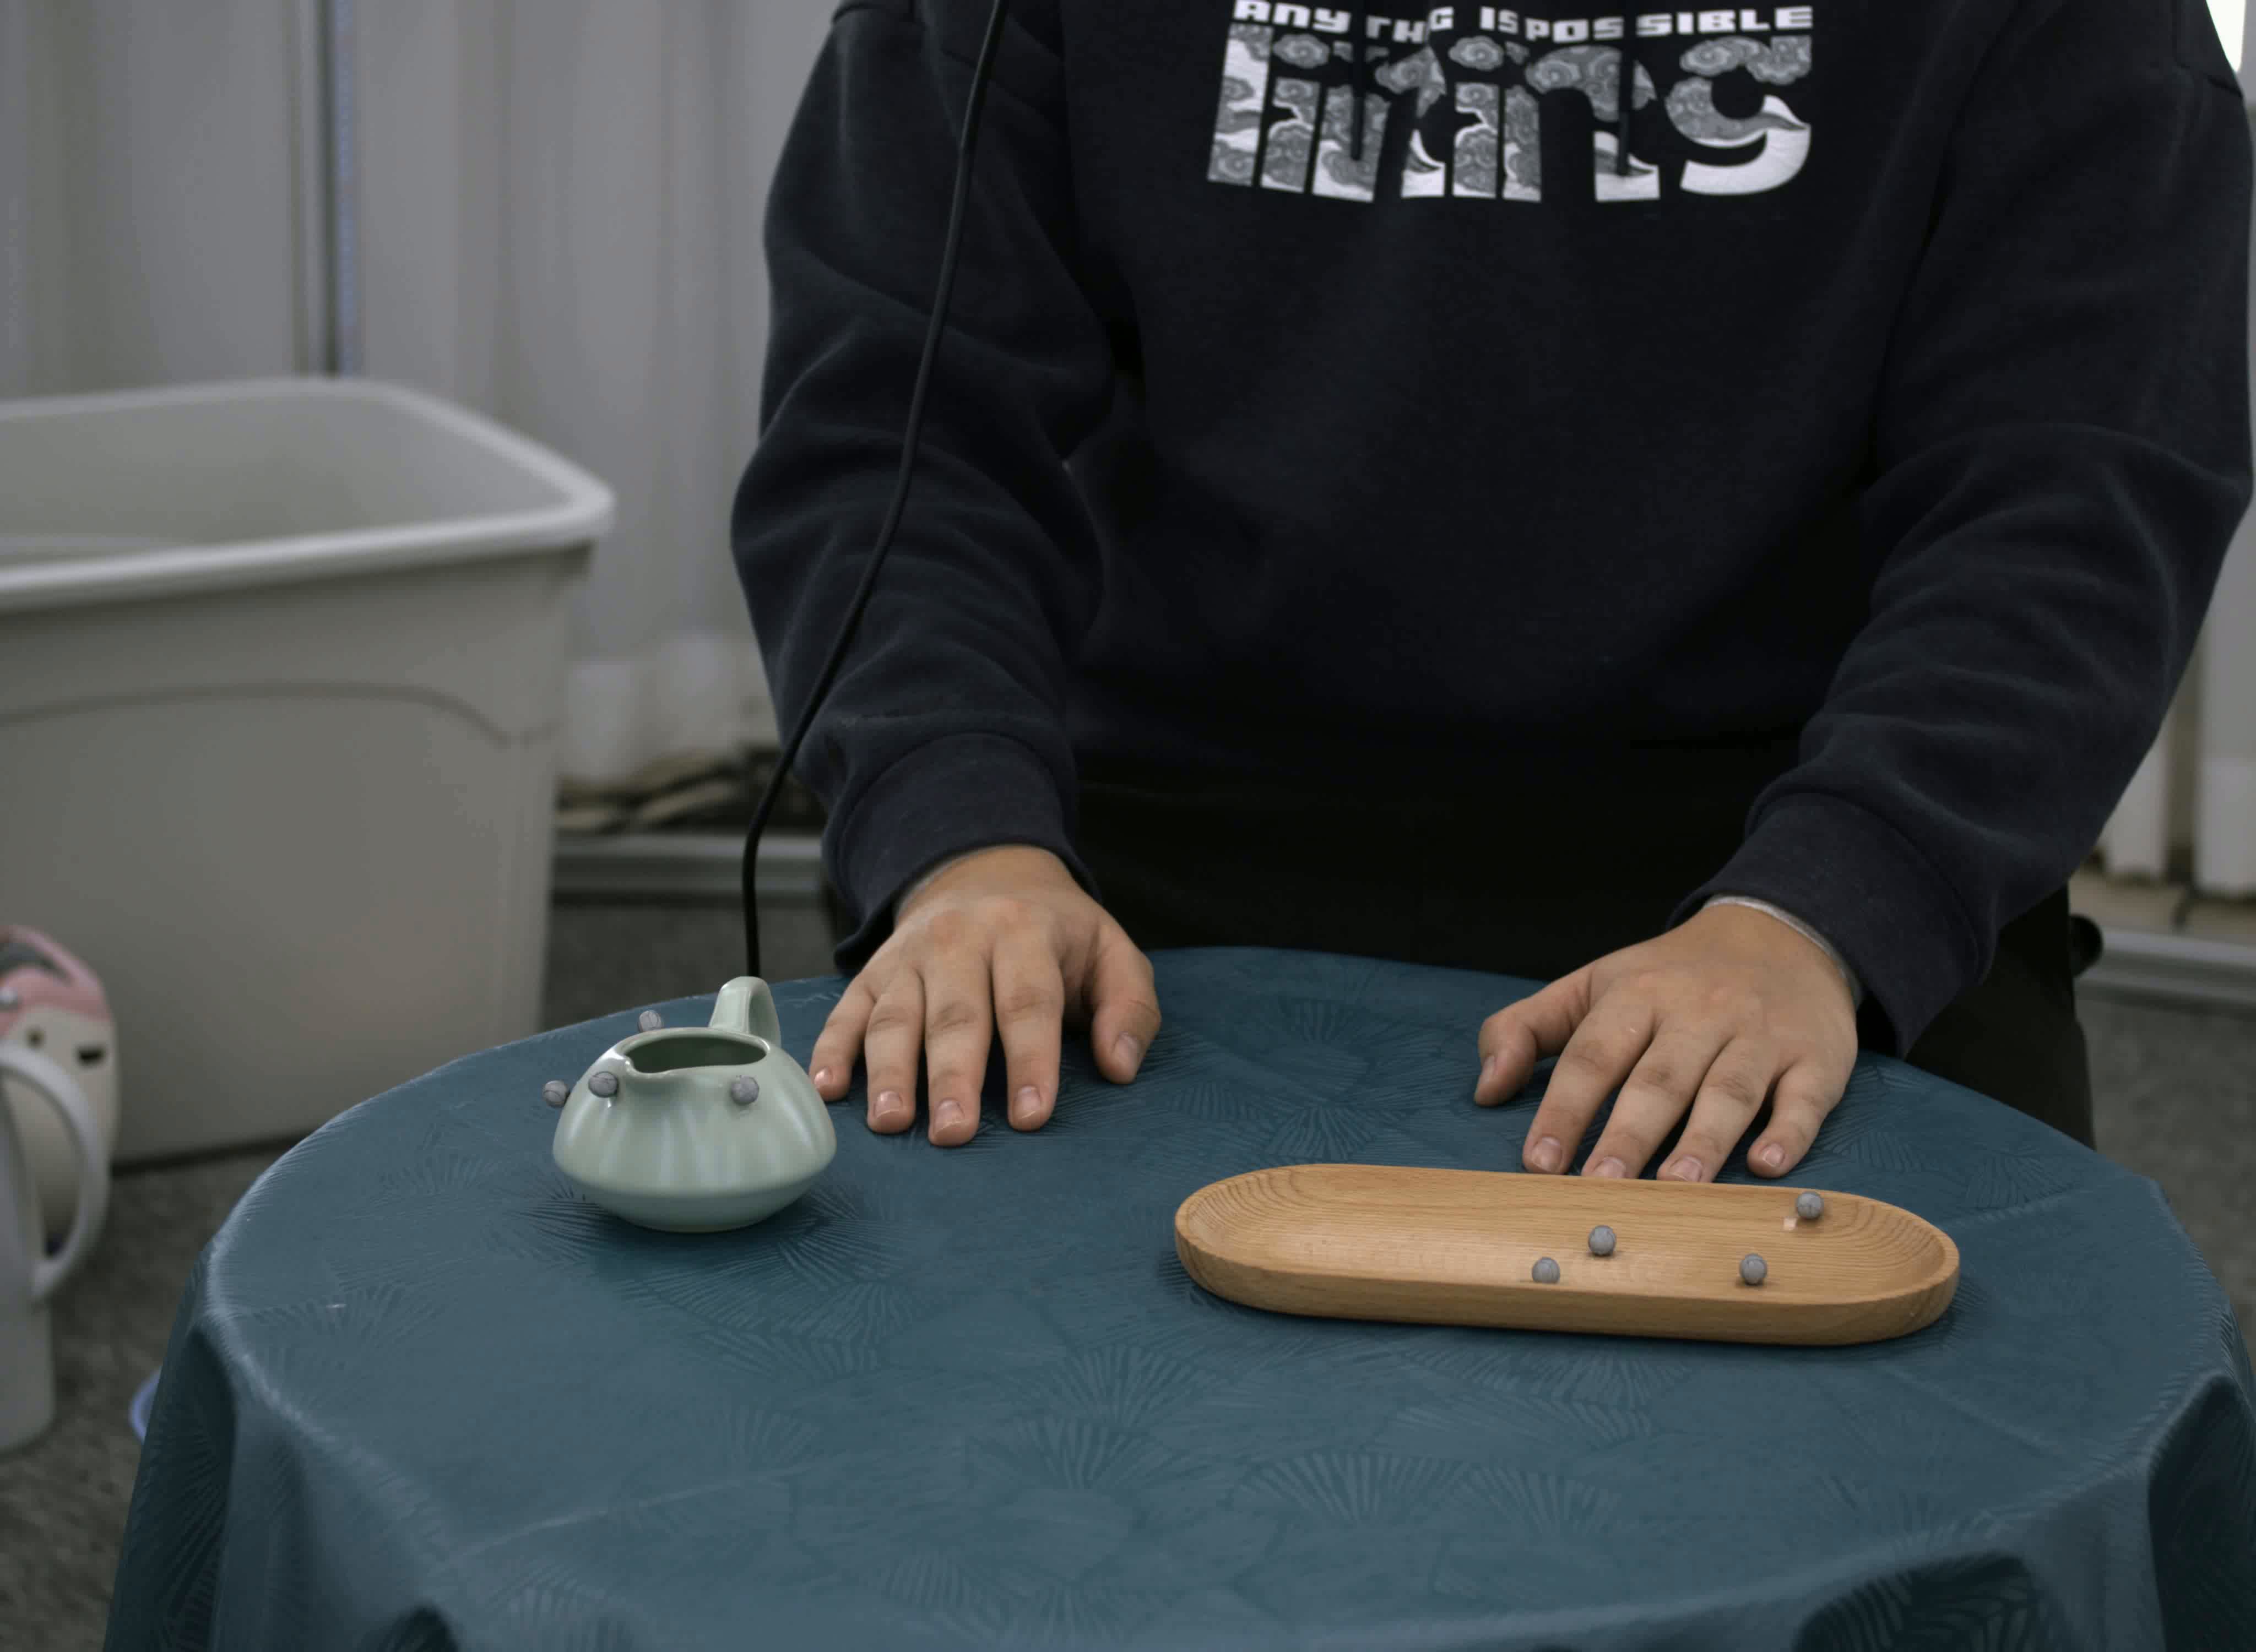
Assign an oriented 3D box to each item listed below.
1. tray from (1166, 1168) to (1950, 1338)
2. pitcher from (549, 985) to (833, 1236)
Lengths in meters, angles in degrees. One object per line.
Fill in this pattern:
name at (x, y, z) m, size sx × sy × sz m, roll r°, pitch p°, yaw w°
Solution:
tray at (0.126, 0.126, 1.555) m, size 0.230 × 0.020 × 0.101 m, roll 1°, pitch 14°, yaw 7°
pitcher at (-0.129, 0.087, 1.608) m, size 0.085 × 0.061 × 0.108 m, roll 5°, pitch 14°, yaw 12°
